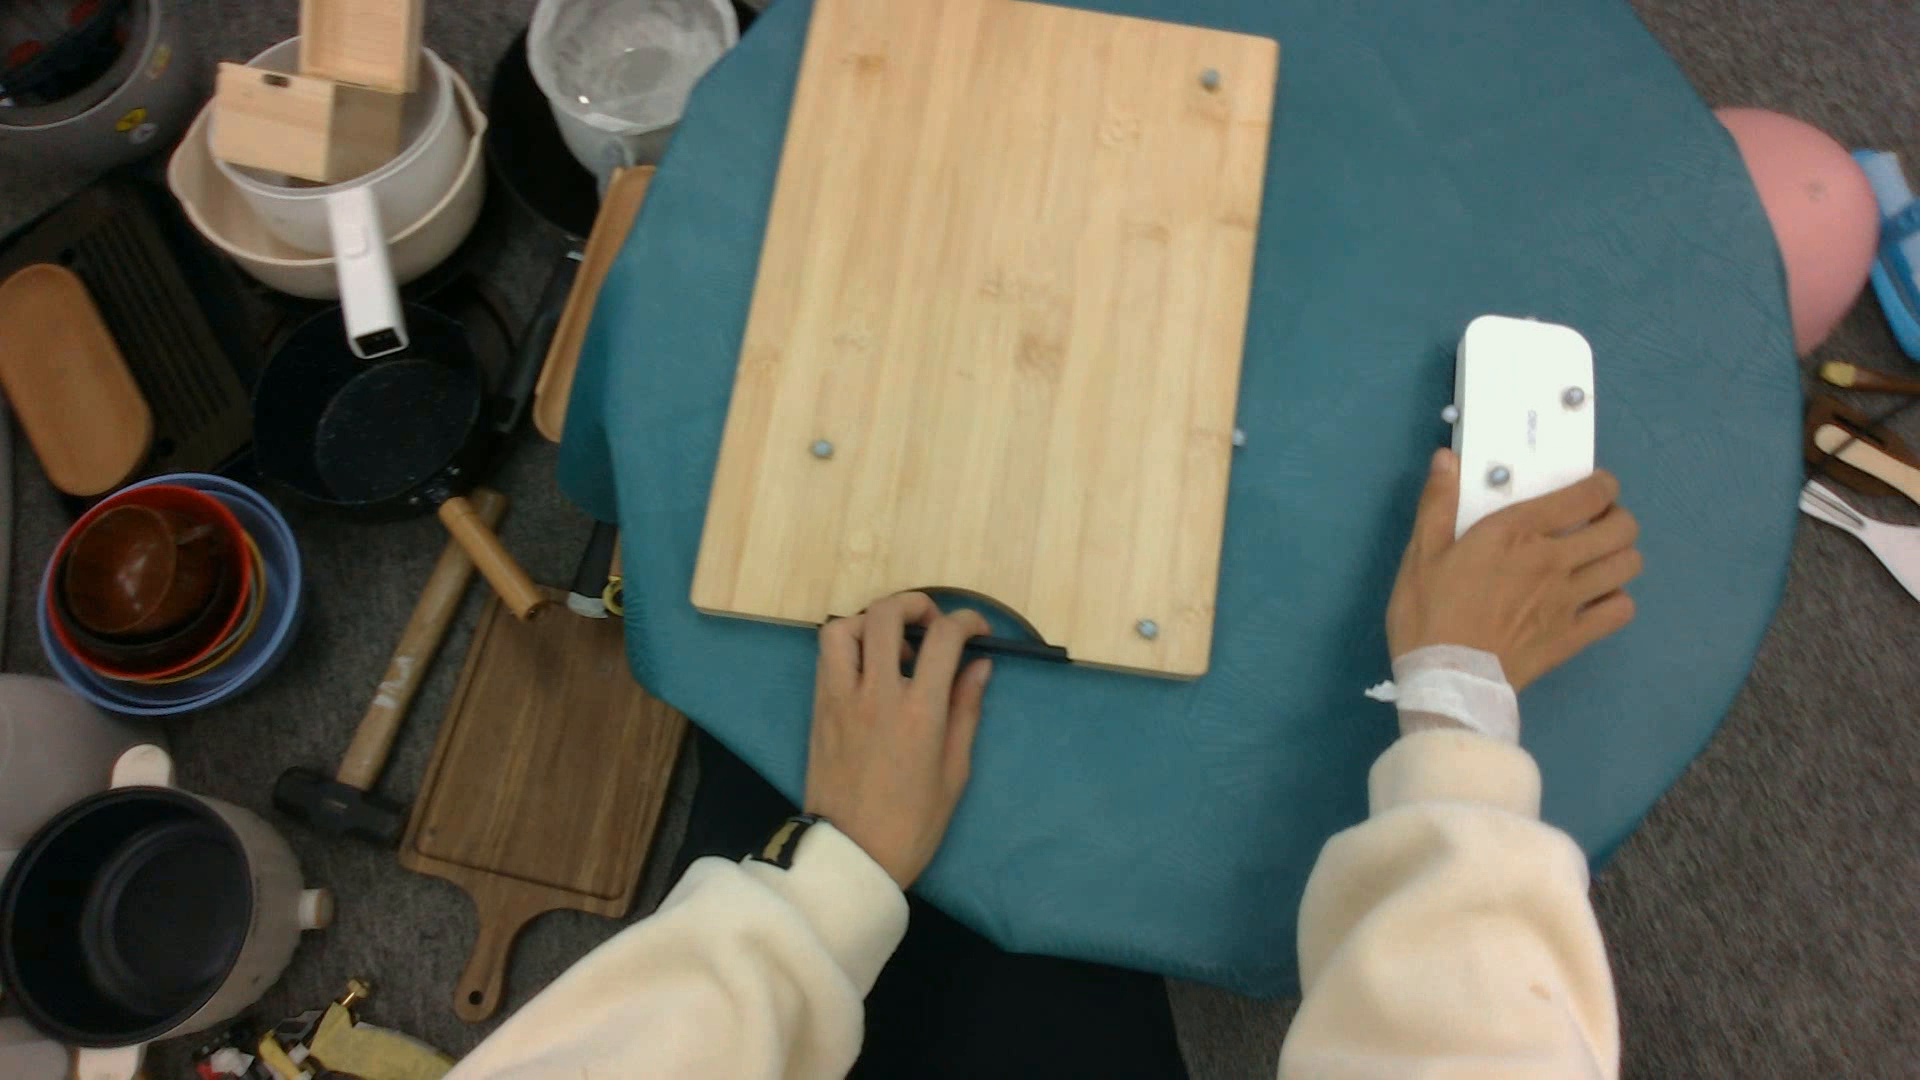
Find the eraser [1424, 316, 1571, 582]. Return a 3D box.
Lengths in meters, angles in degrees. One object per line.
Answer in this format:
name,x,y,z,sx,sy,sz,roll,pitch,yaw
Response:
eraser,0.258,-0.045,0.665,0.063,0.034,0.131,10,71,2

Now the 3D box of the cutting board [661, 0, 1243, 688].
cutting board,0.006,-0.113,0.679,0.251,0.023,0.349,7,74,-2
